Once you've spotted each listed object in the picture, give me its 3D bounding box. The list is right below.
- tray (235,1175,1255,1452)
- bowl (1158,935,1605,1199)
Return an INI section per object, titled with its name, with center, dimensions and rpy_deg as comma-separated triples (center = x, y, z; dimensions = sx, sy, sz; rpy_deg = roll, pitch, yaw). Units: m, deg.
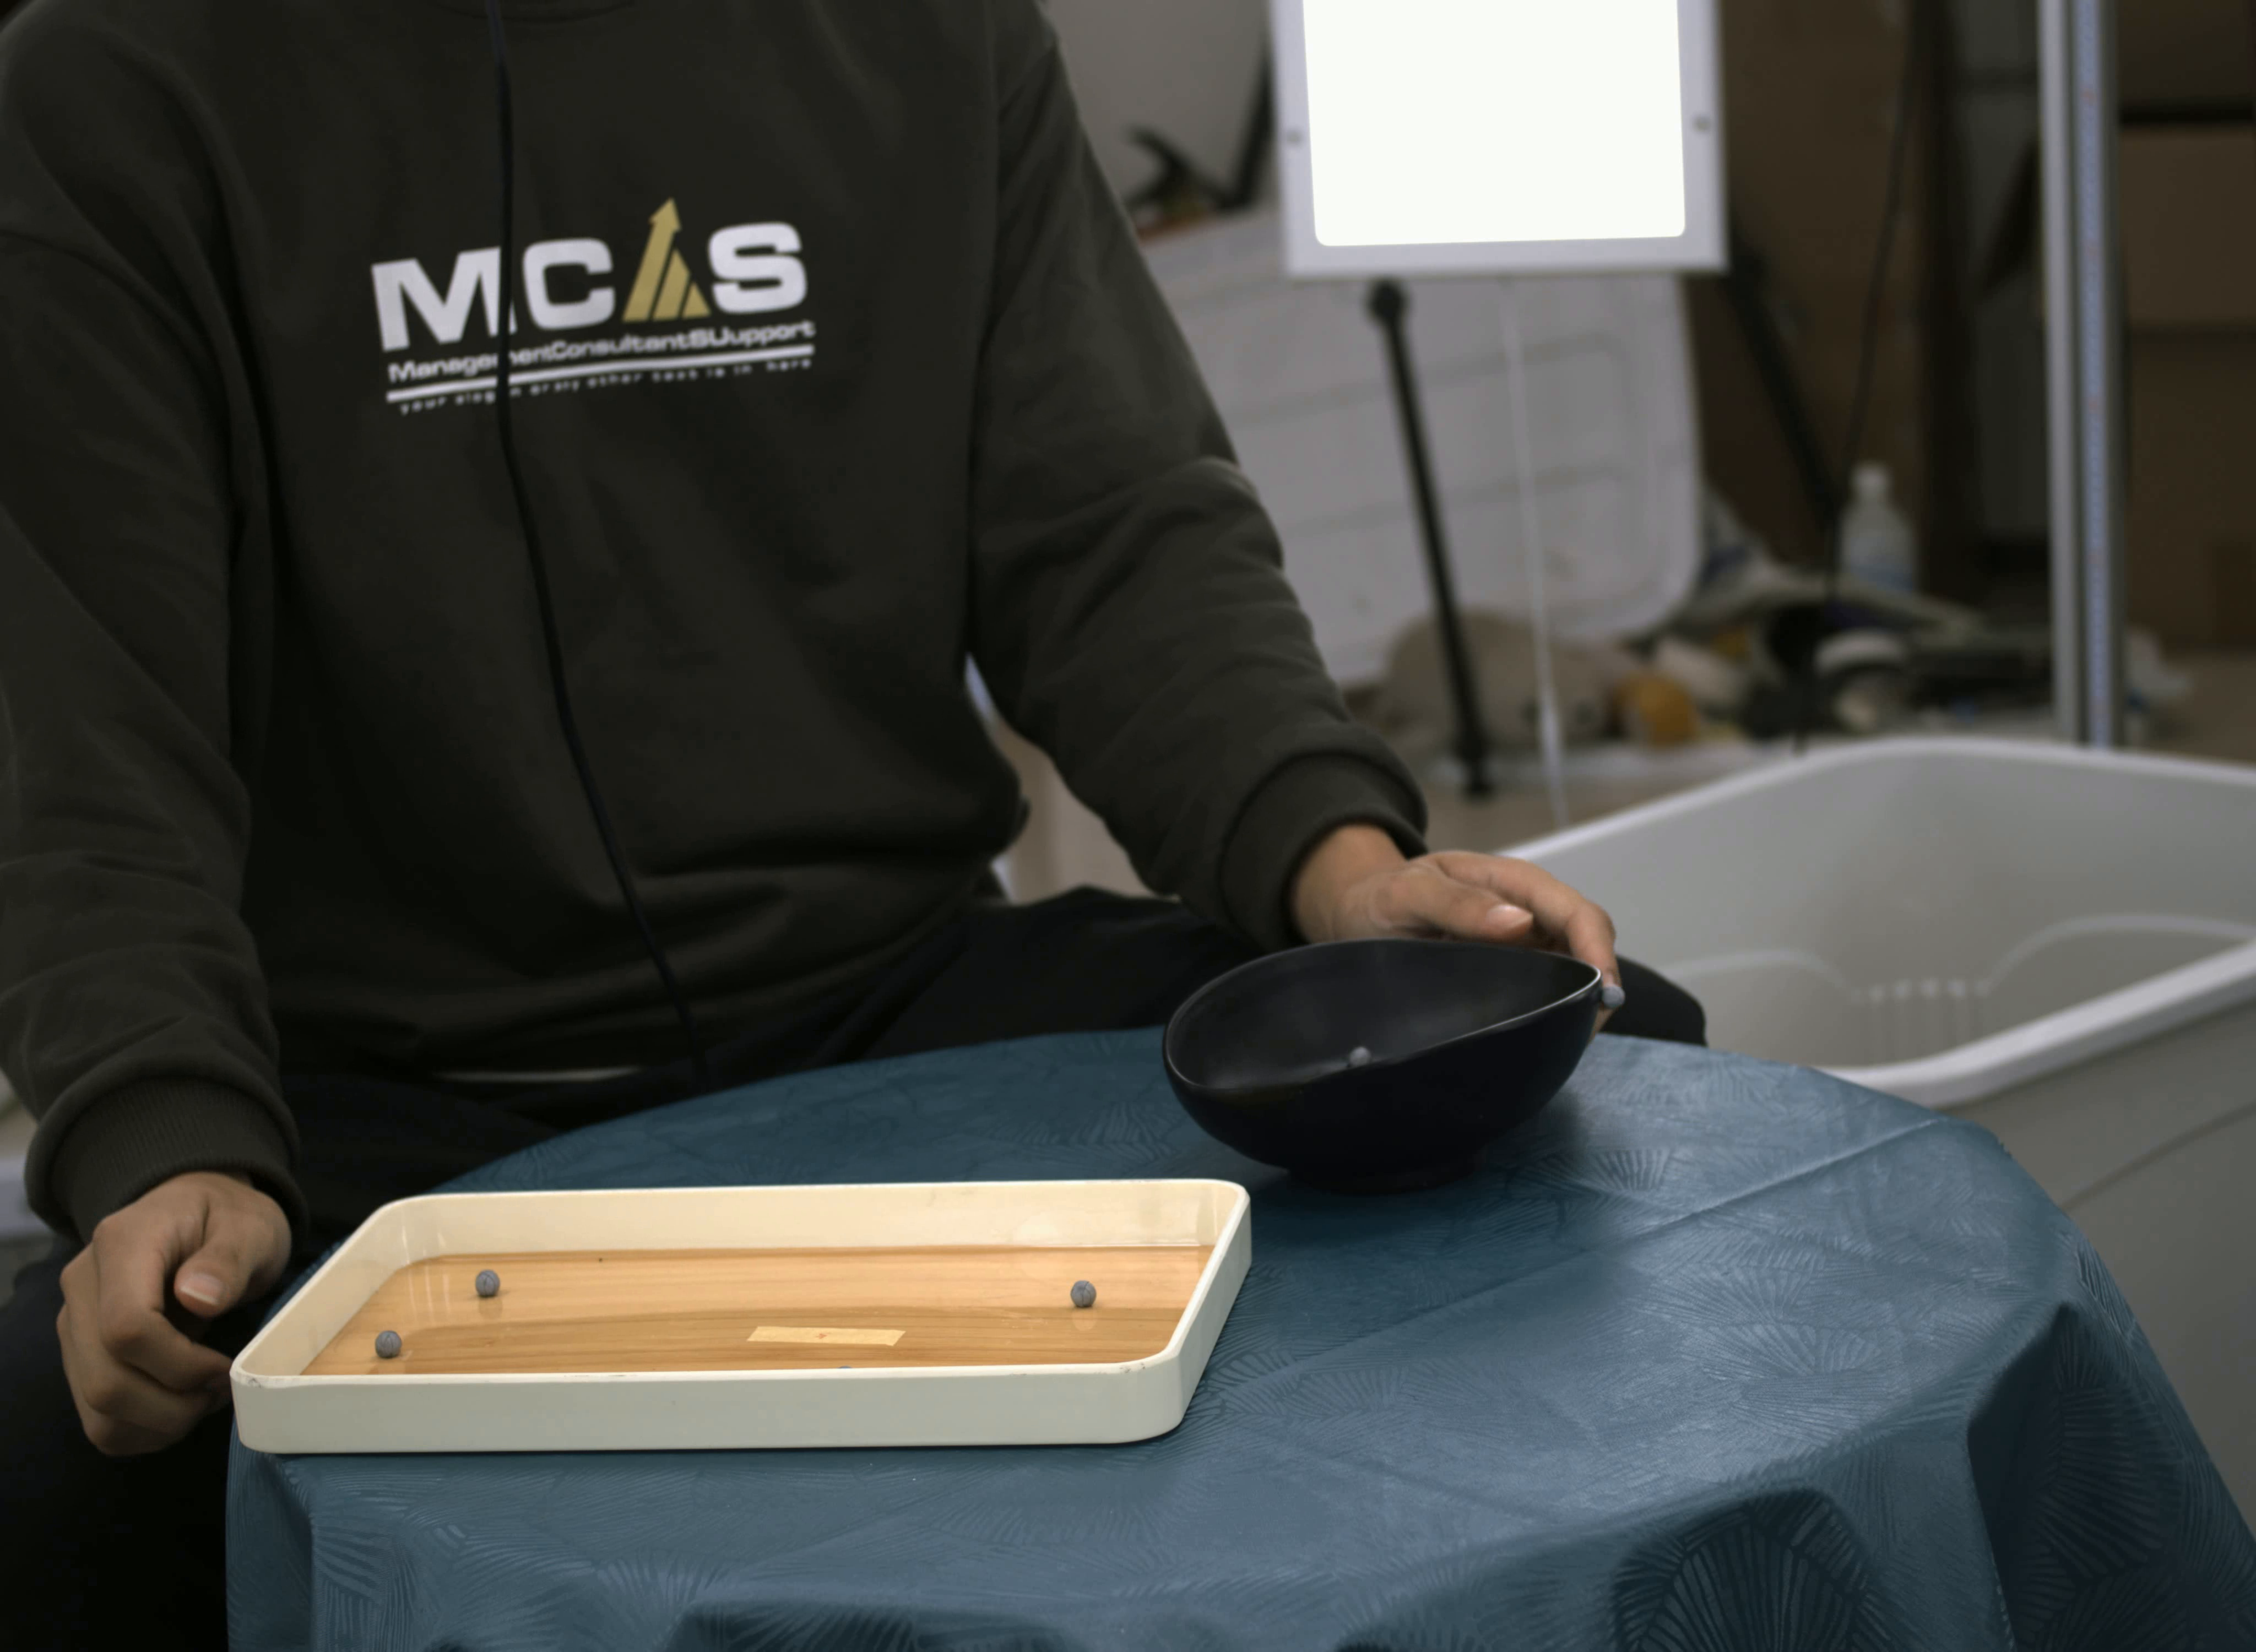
[tray]
center = -0.117, 0.155, 1.765
dimensions = 0.302, 0.027, 0.189
rpy_deg = -2, 14, 12
[bowl]
center = 0.091, 0.088, 1.898
dimensions = 0.166, 0.067, 0.140
rpy_deg = -18, 17, -38
